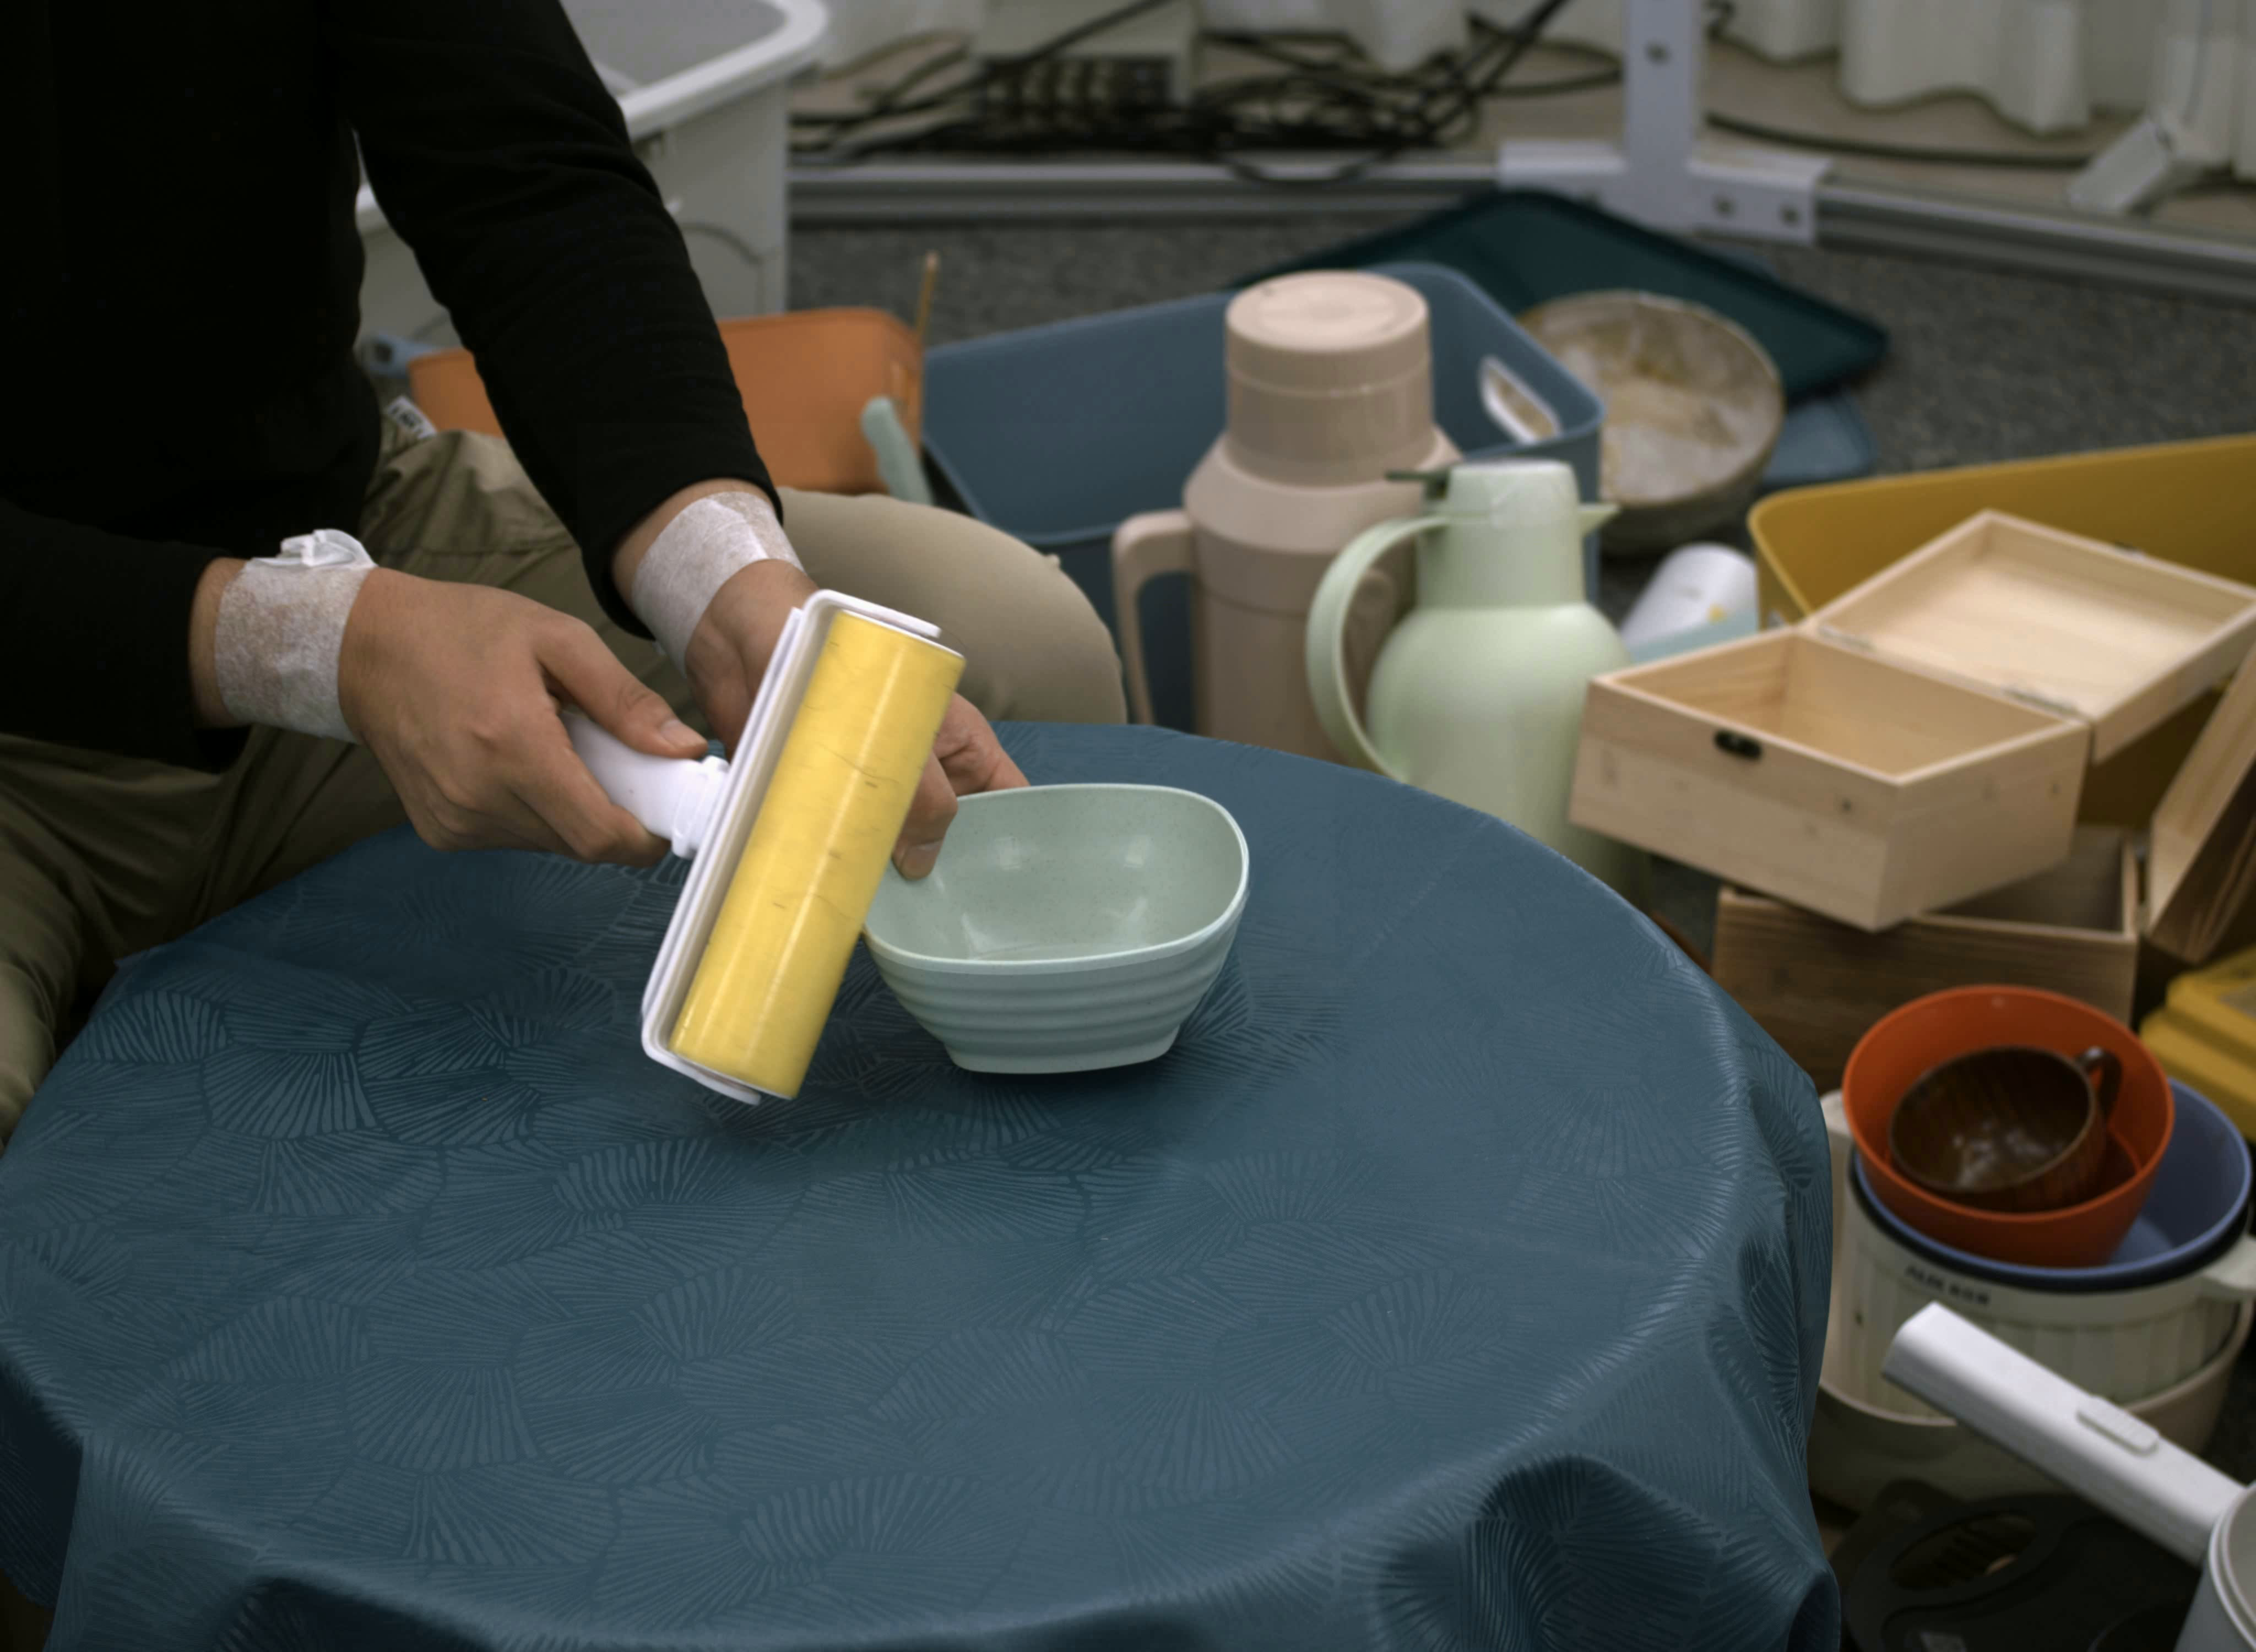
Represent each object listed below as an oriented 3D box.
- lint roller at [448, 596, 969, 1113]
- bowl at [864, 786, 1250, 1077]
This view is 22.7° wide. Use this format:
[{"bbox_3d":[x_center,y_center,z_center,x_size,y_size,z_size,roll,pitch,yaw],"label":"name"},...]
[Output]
[{"bbox_3d":[-0.163,-0.008,1.930,0.191,0.175,0.051,18,-5,25],"label":"lint roller"},{"bbox_3d":[-0.026,0.042,1.945,0.151,0.058,0.153,-2,25,1],"label":"bowl"}]
